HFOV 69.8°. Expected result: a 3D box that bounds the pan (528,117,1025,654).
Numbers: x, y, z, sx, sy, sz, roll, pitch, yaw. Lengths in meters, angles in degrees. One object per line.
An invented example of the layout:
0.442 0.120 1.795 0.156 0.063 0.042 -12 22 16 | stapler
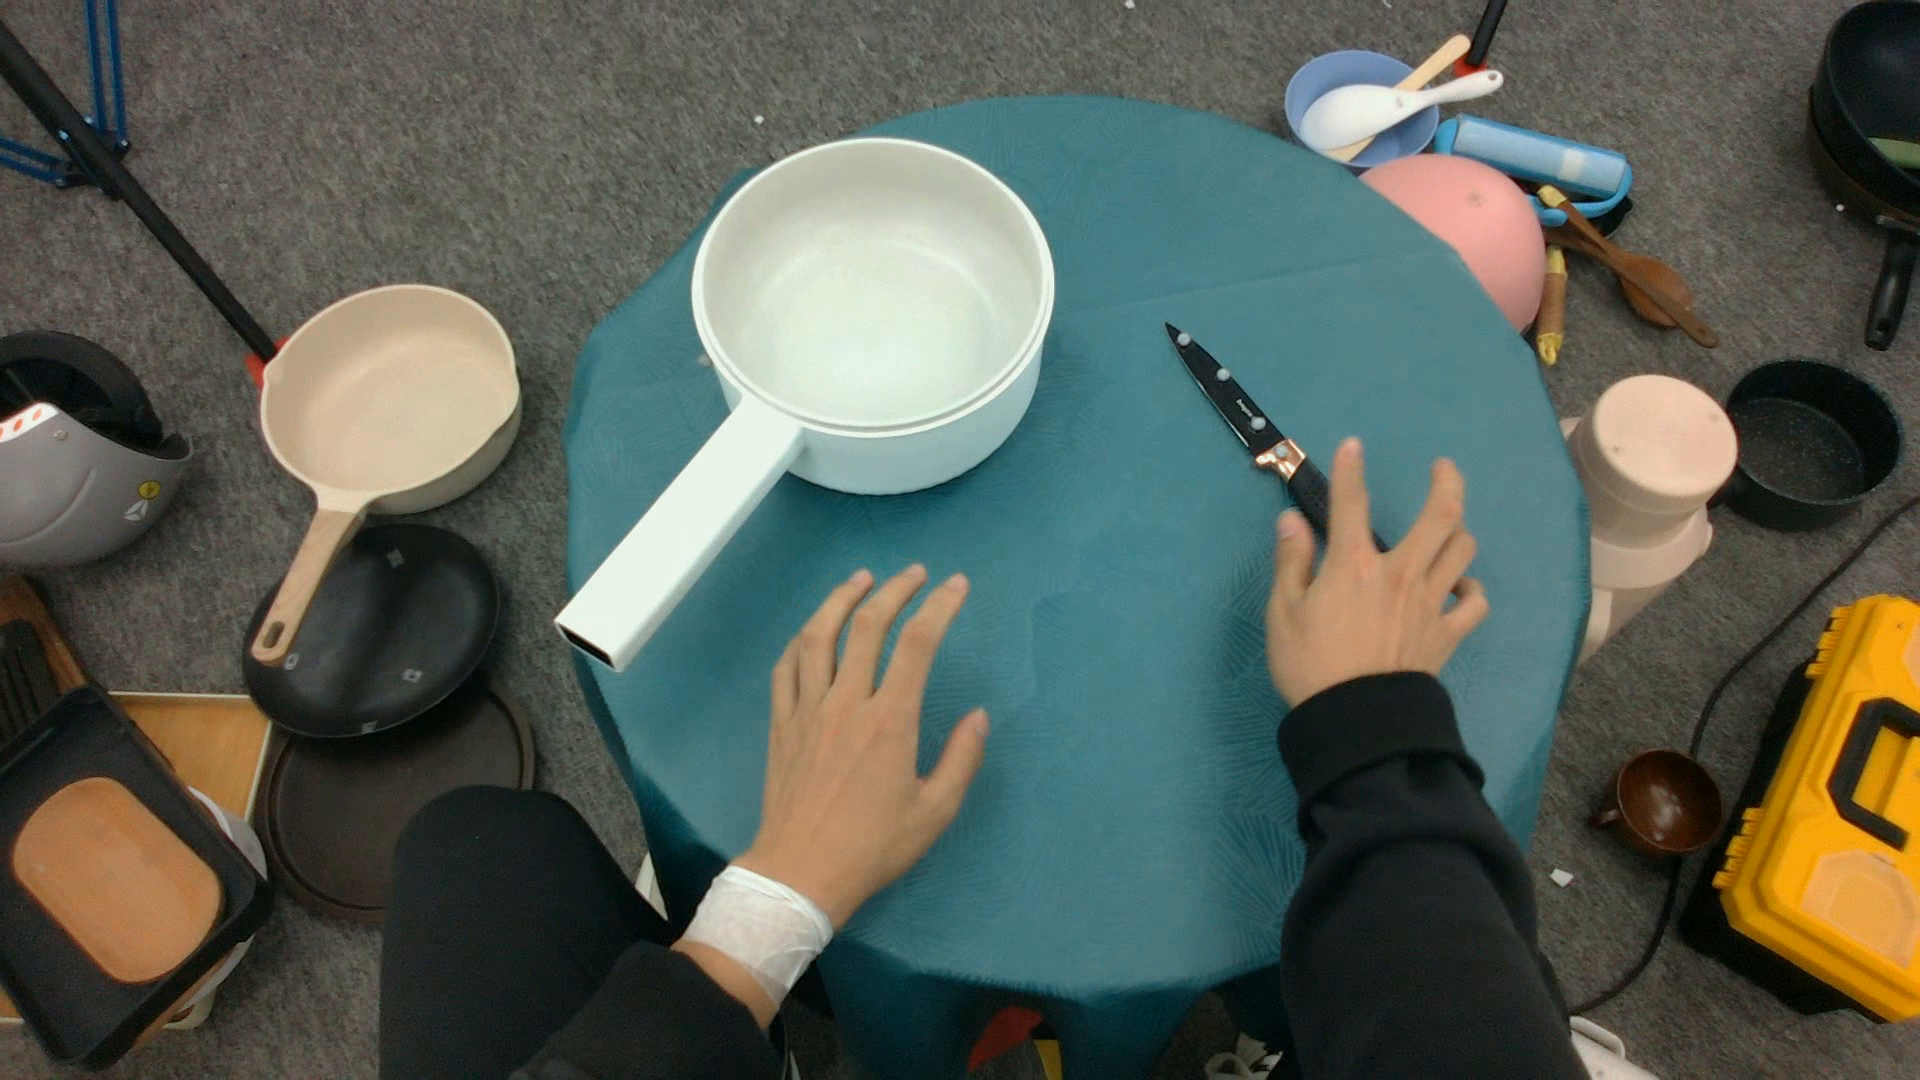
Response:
-0.105 -0.078 0.776 0.201 0.101 0.356 30 68 10 | pan

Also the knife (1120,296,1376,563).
0.169 -0.072 0.826 0.026 0.017 0.226 -33 68 -8 | knife
